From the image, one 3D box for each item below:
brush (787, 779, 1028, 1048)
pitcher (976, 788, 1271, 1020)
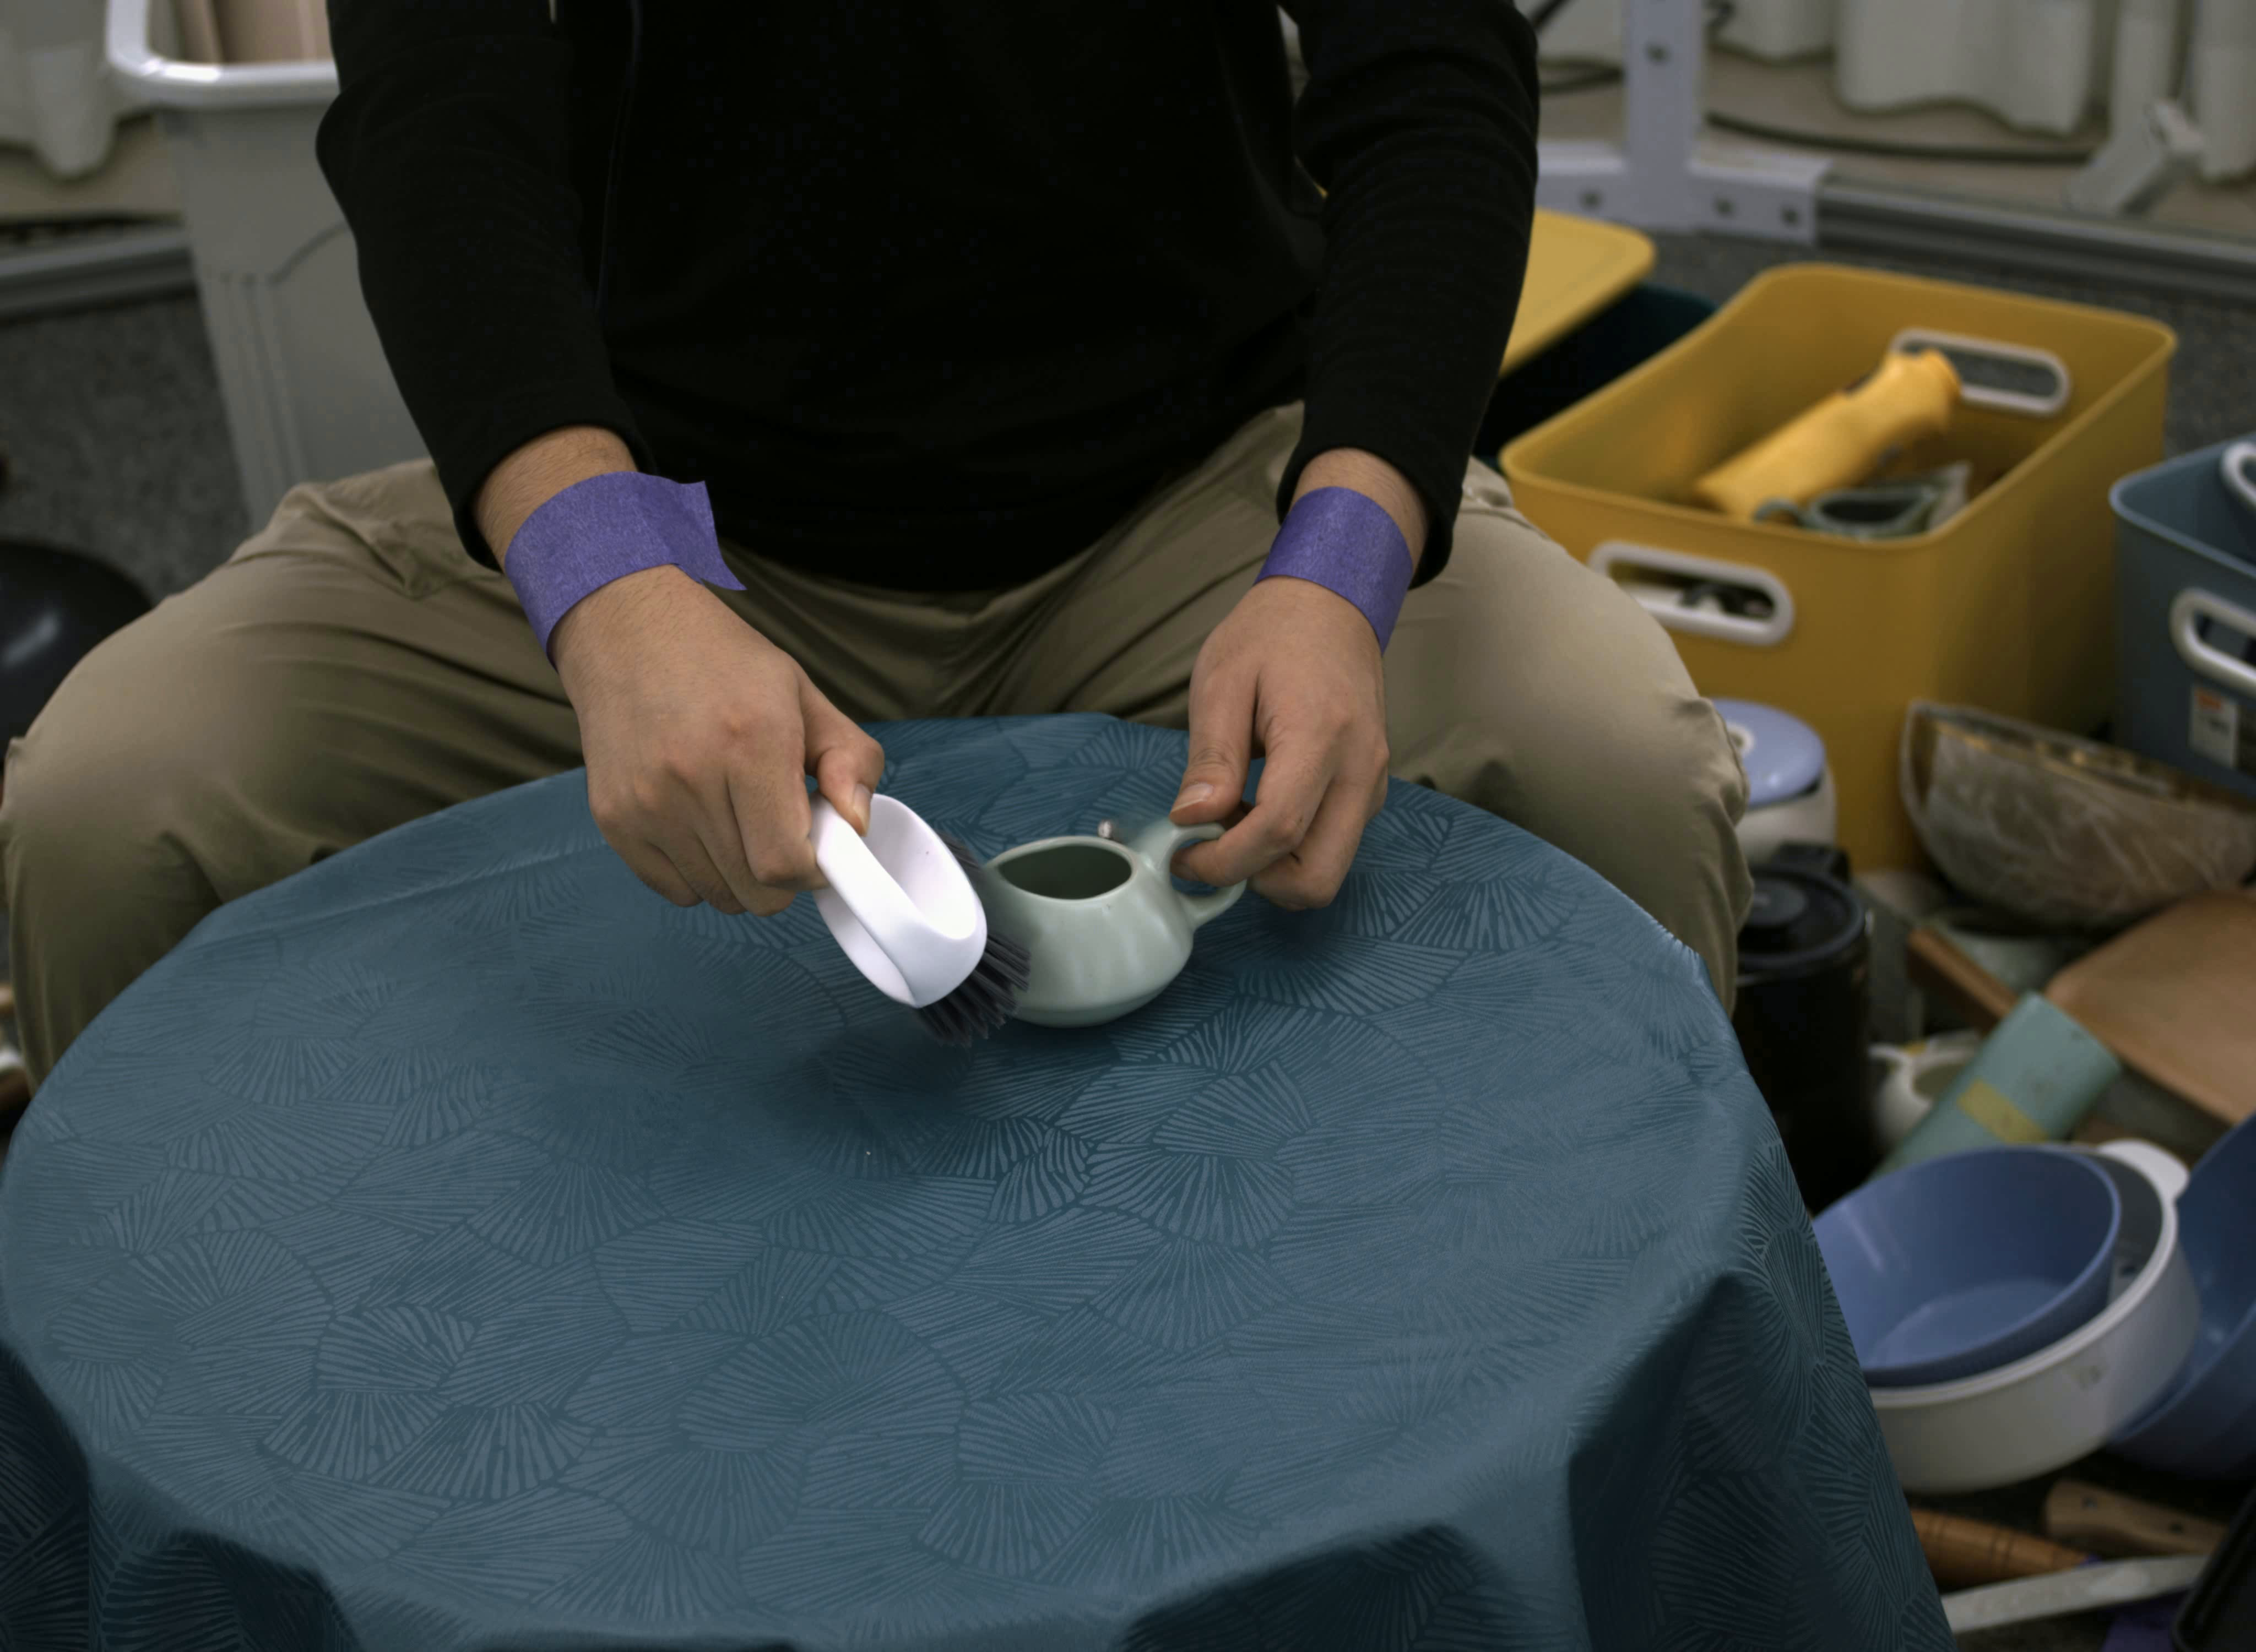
[{"bbox_3d":[-0.083,0.022,1.907,0.050,0.072,0.100,-40,43,6],"label":"brush"},{"bbox_3d":[0.001,0.028,1.974,0.107,0.060,0.087,-20,16,2],"label":"pitcher"}]
